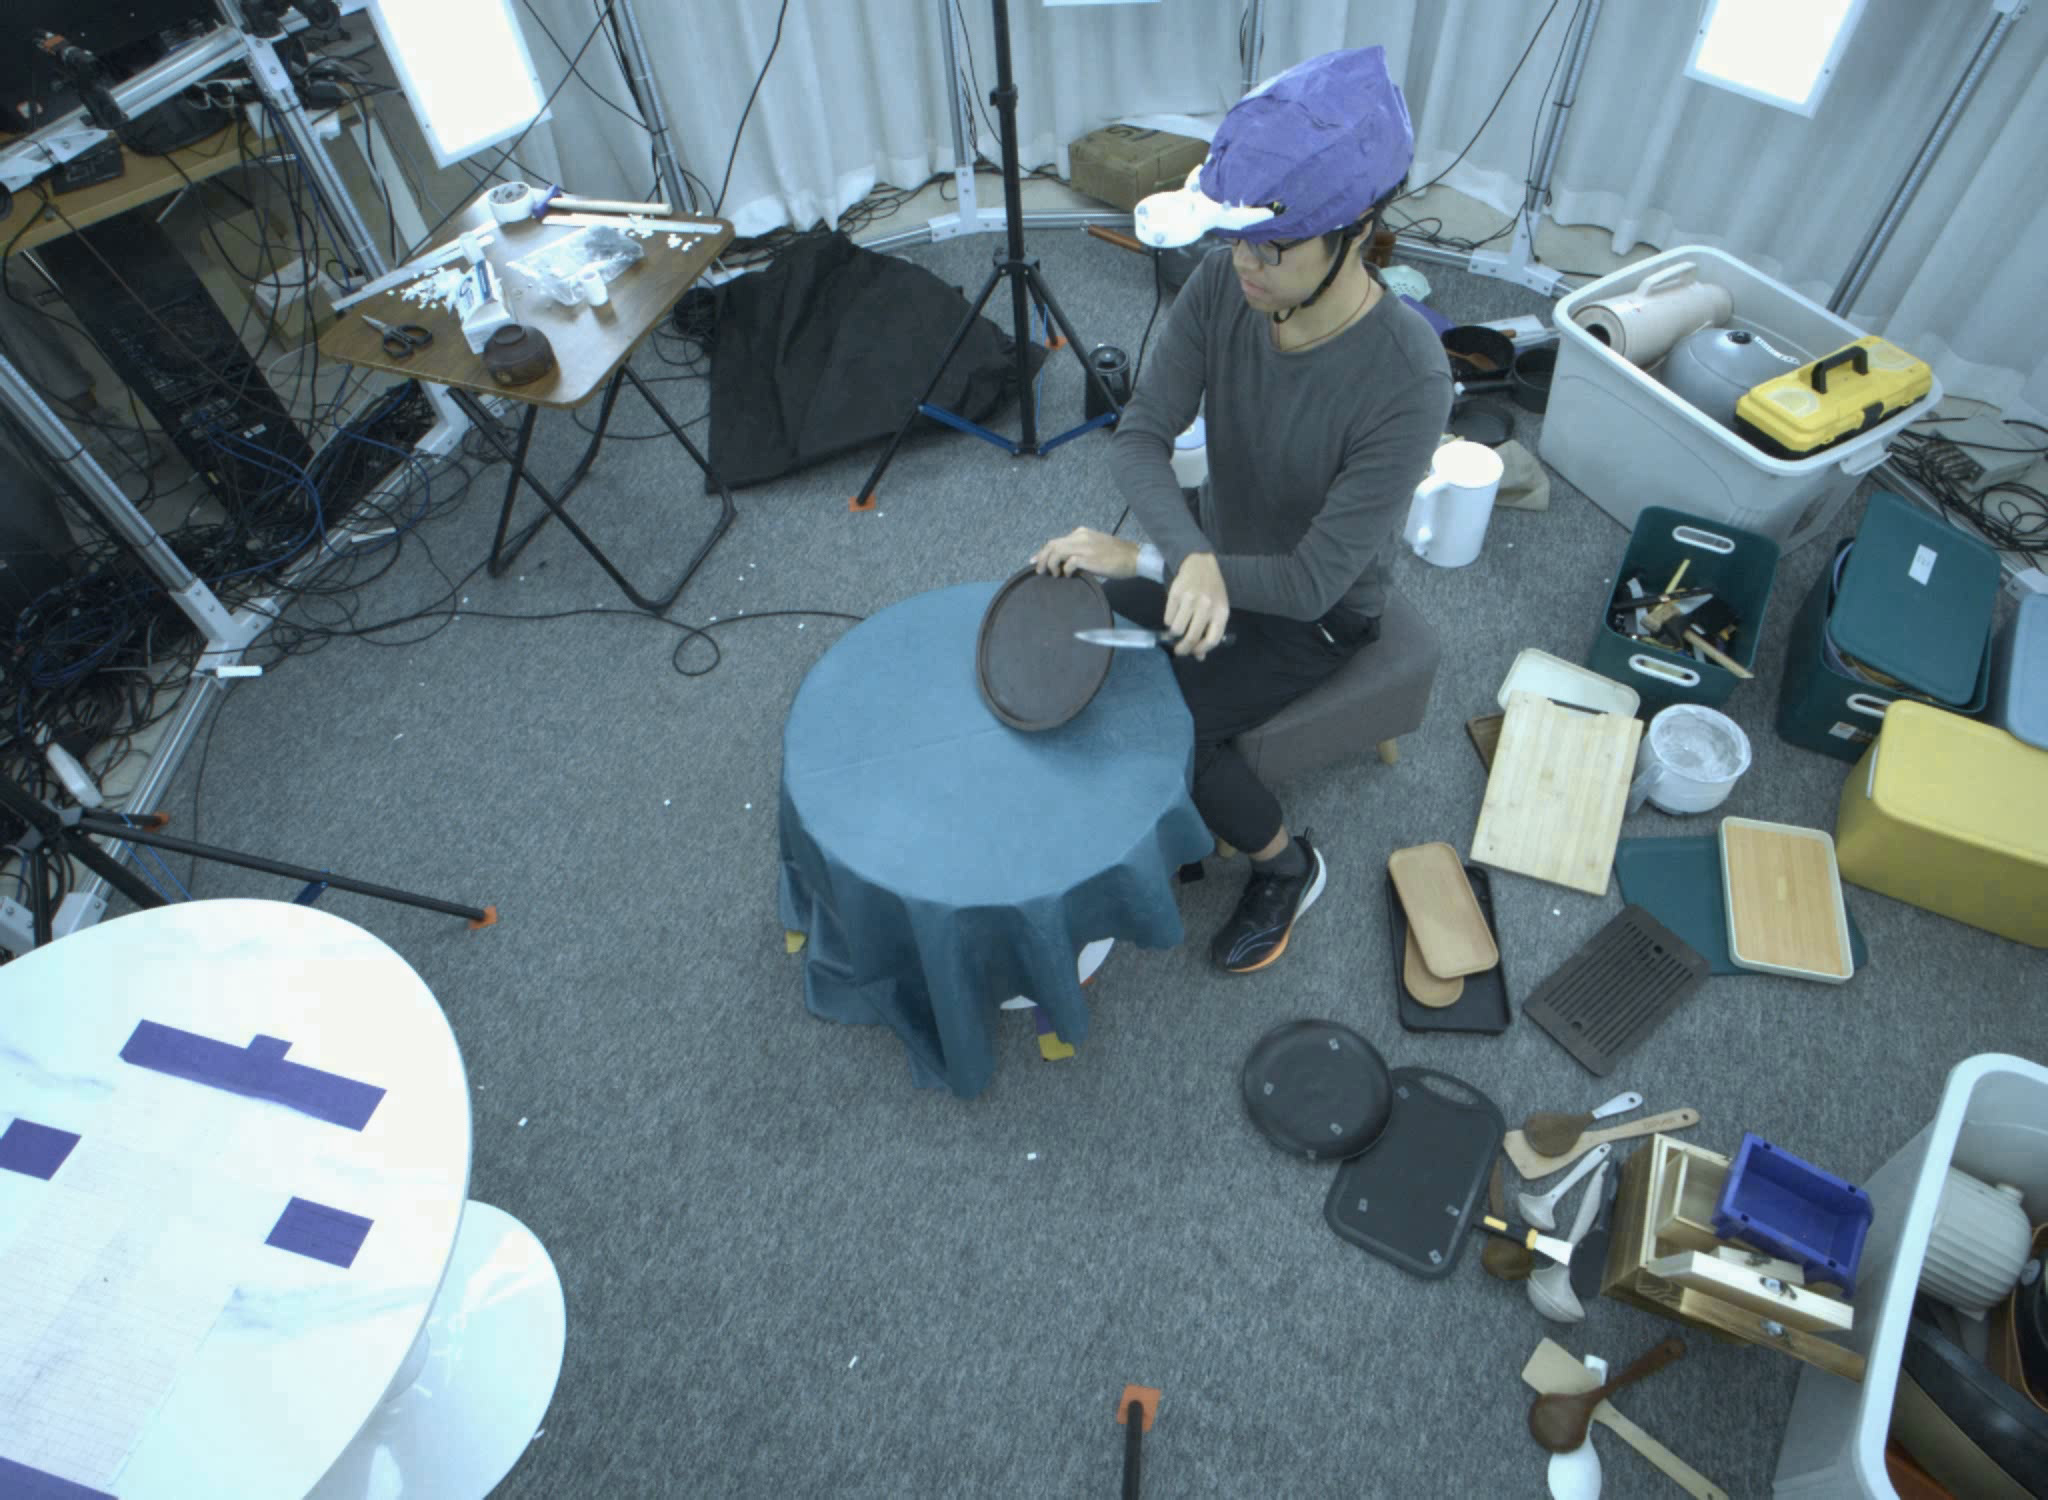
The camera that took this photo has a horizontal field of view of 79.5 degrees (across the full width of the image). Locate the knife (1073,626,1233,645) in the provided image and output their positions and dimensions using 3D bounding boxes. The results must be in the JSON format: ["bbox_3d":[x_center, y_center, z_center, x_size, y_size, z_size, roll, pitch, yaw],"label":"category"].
[{"bbox_3d":[0.173,-0.158,1.688,0.234,0.016,0.024,5,93,27],"label":"knife"}]

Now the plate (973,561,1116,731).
[{"bbox_3d":[0.029,-0.151,1.796,0.250,0.029,0.254,-5,81,36],"label":"plate"}]
